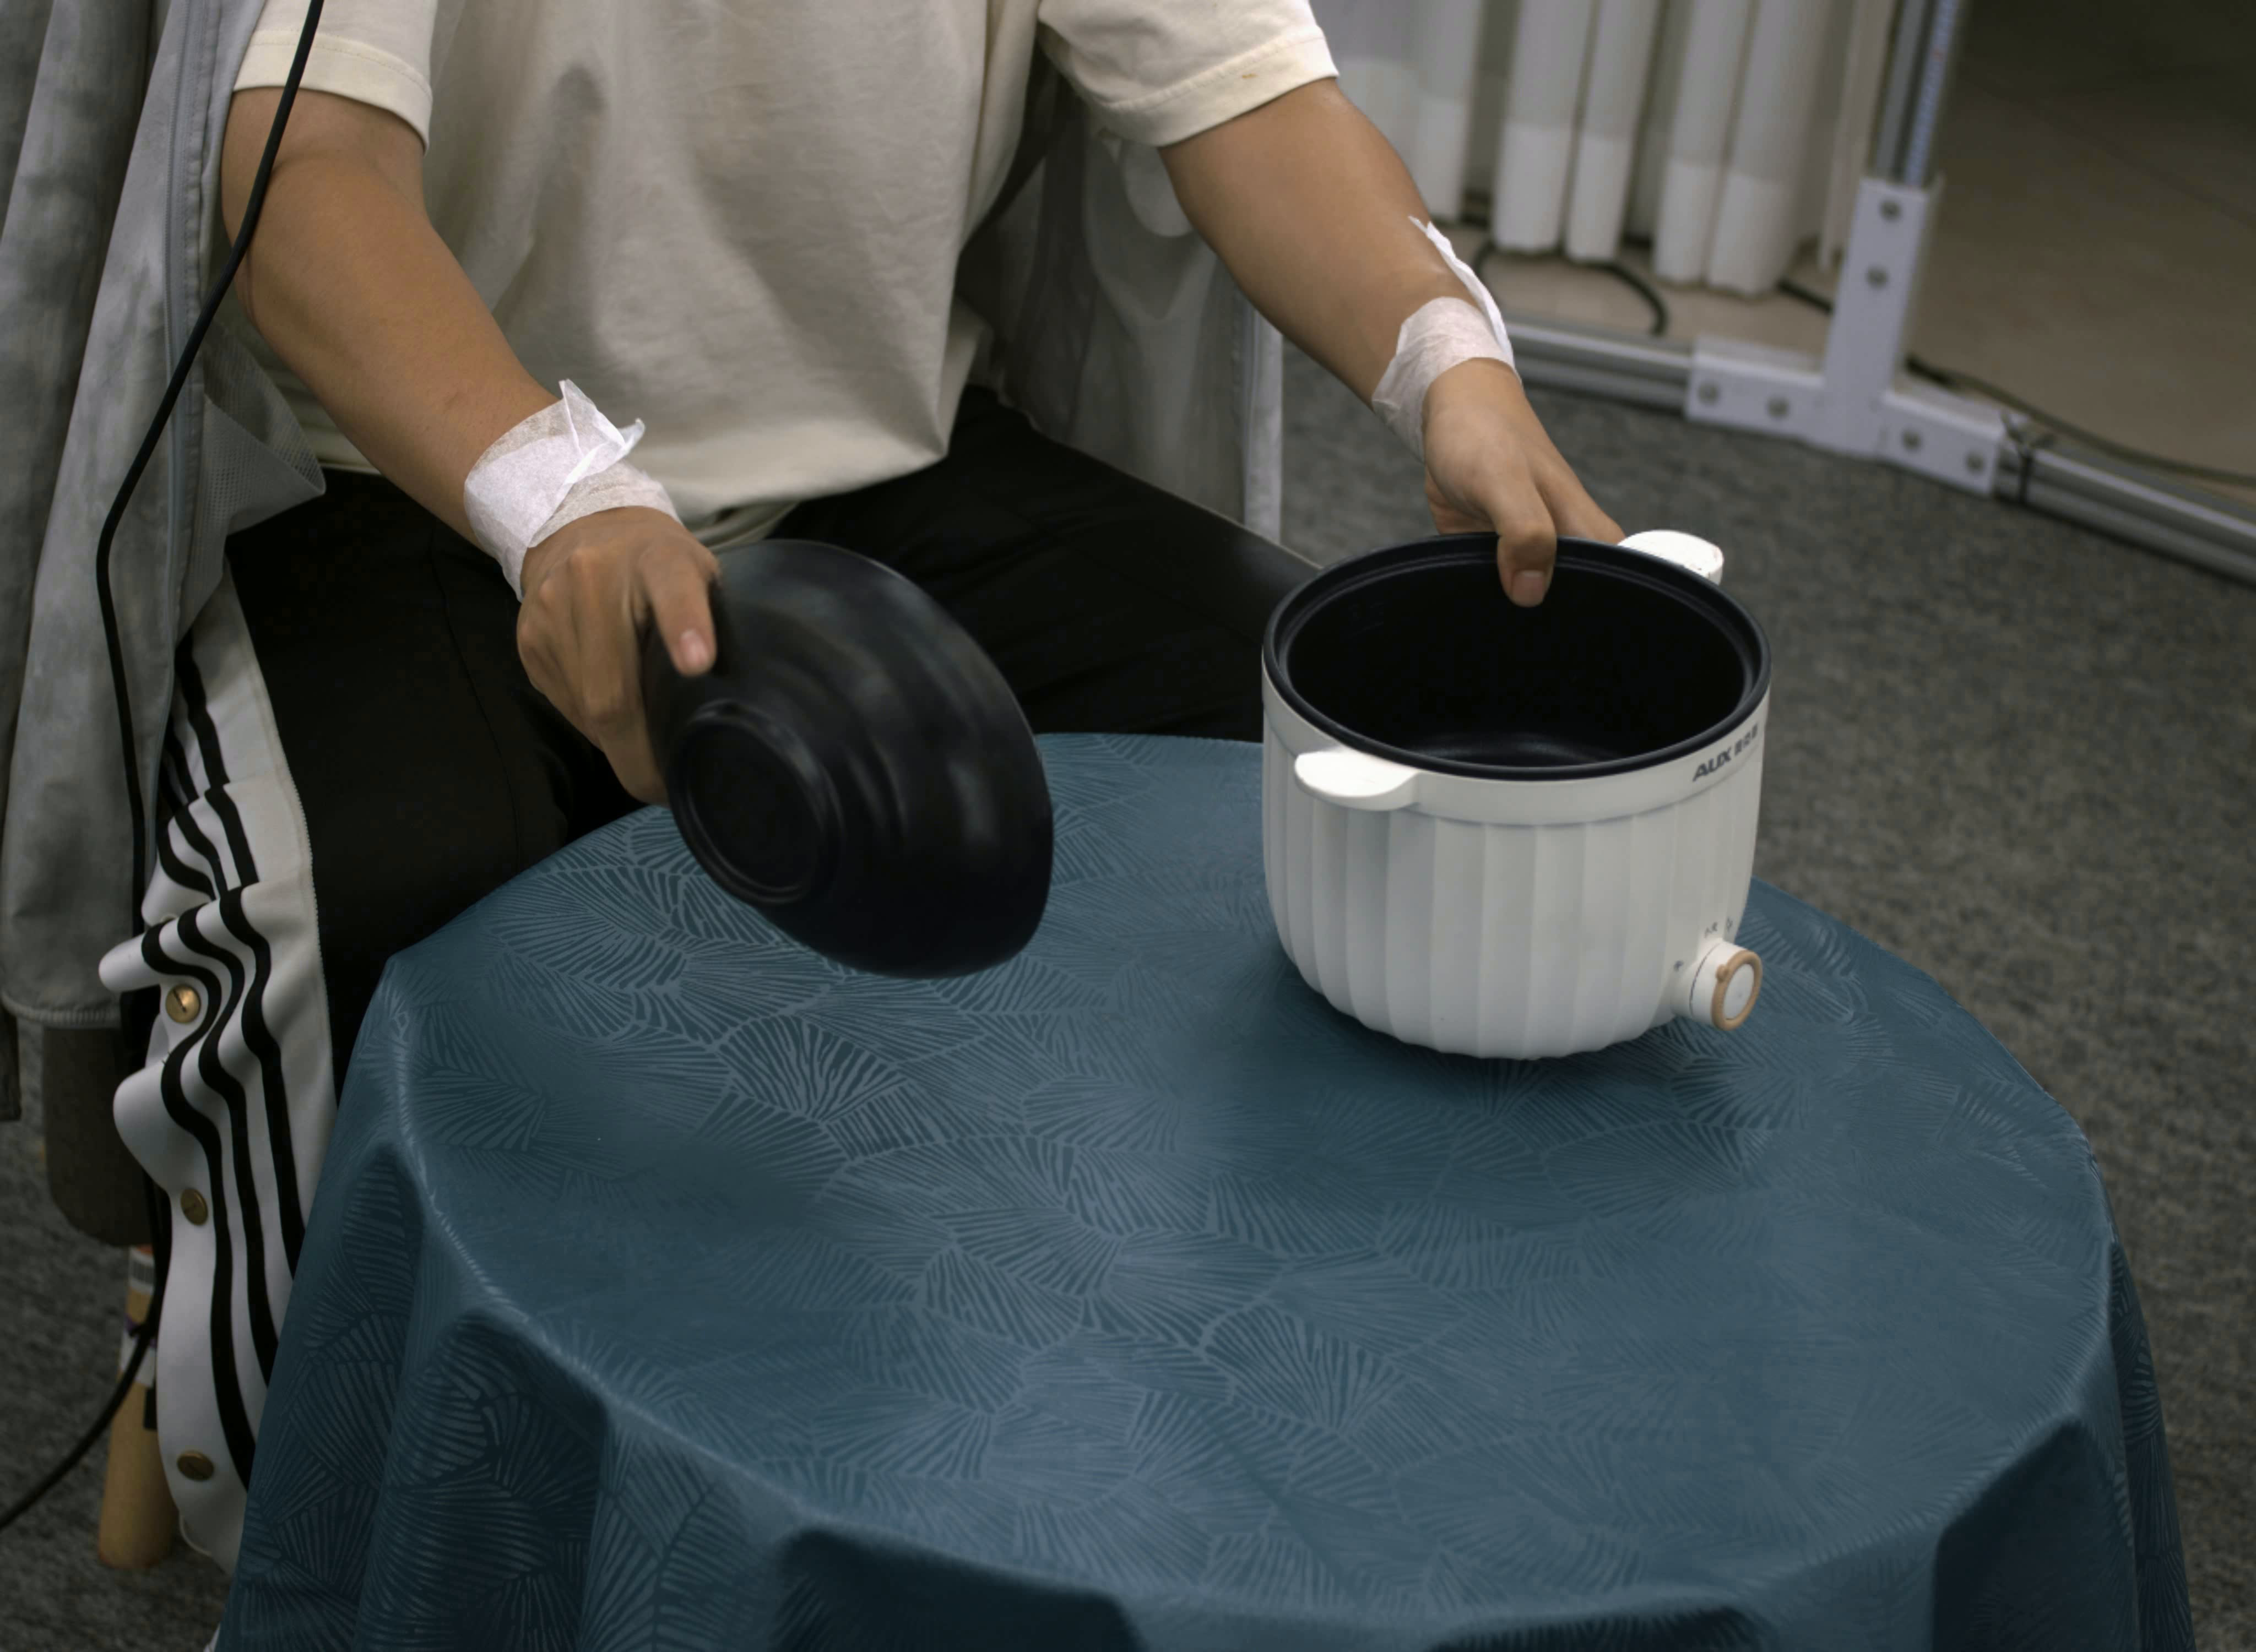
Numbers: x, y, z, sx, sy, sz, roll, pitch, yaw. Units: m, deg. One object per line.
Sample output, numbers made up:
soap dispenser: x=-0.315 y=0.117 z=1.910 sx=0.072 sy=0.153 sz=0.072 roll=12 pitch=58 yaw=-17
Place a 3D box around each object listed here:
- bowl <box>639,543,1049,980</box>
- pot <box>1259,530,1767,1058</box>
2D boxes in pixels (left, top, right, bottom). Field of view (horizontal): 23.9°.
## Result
bowl: x=-0.104 y=-0.015 z=1.737 sx=0.171 sy=0.137 sz=0.066 roll=46 pitch=44 yaw=15
pot: x=0.142 y=-0.005 z=1.924 sx=0.191 sy=0.142 sz=0.240 roll=17 pitch=35 yaw=34
